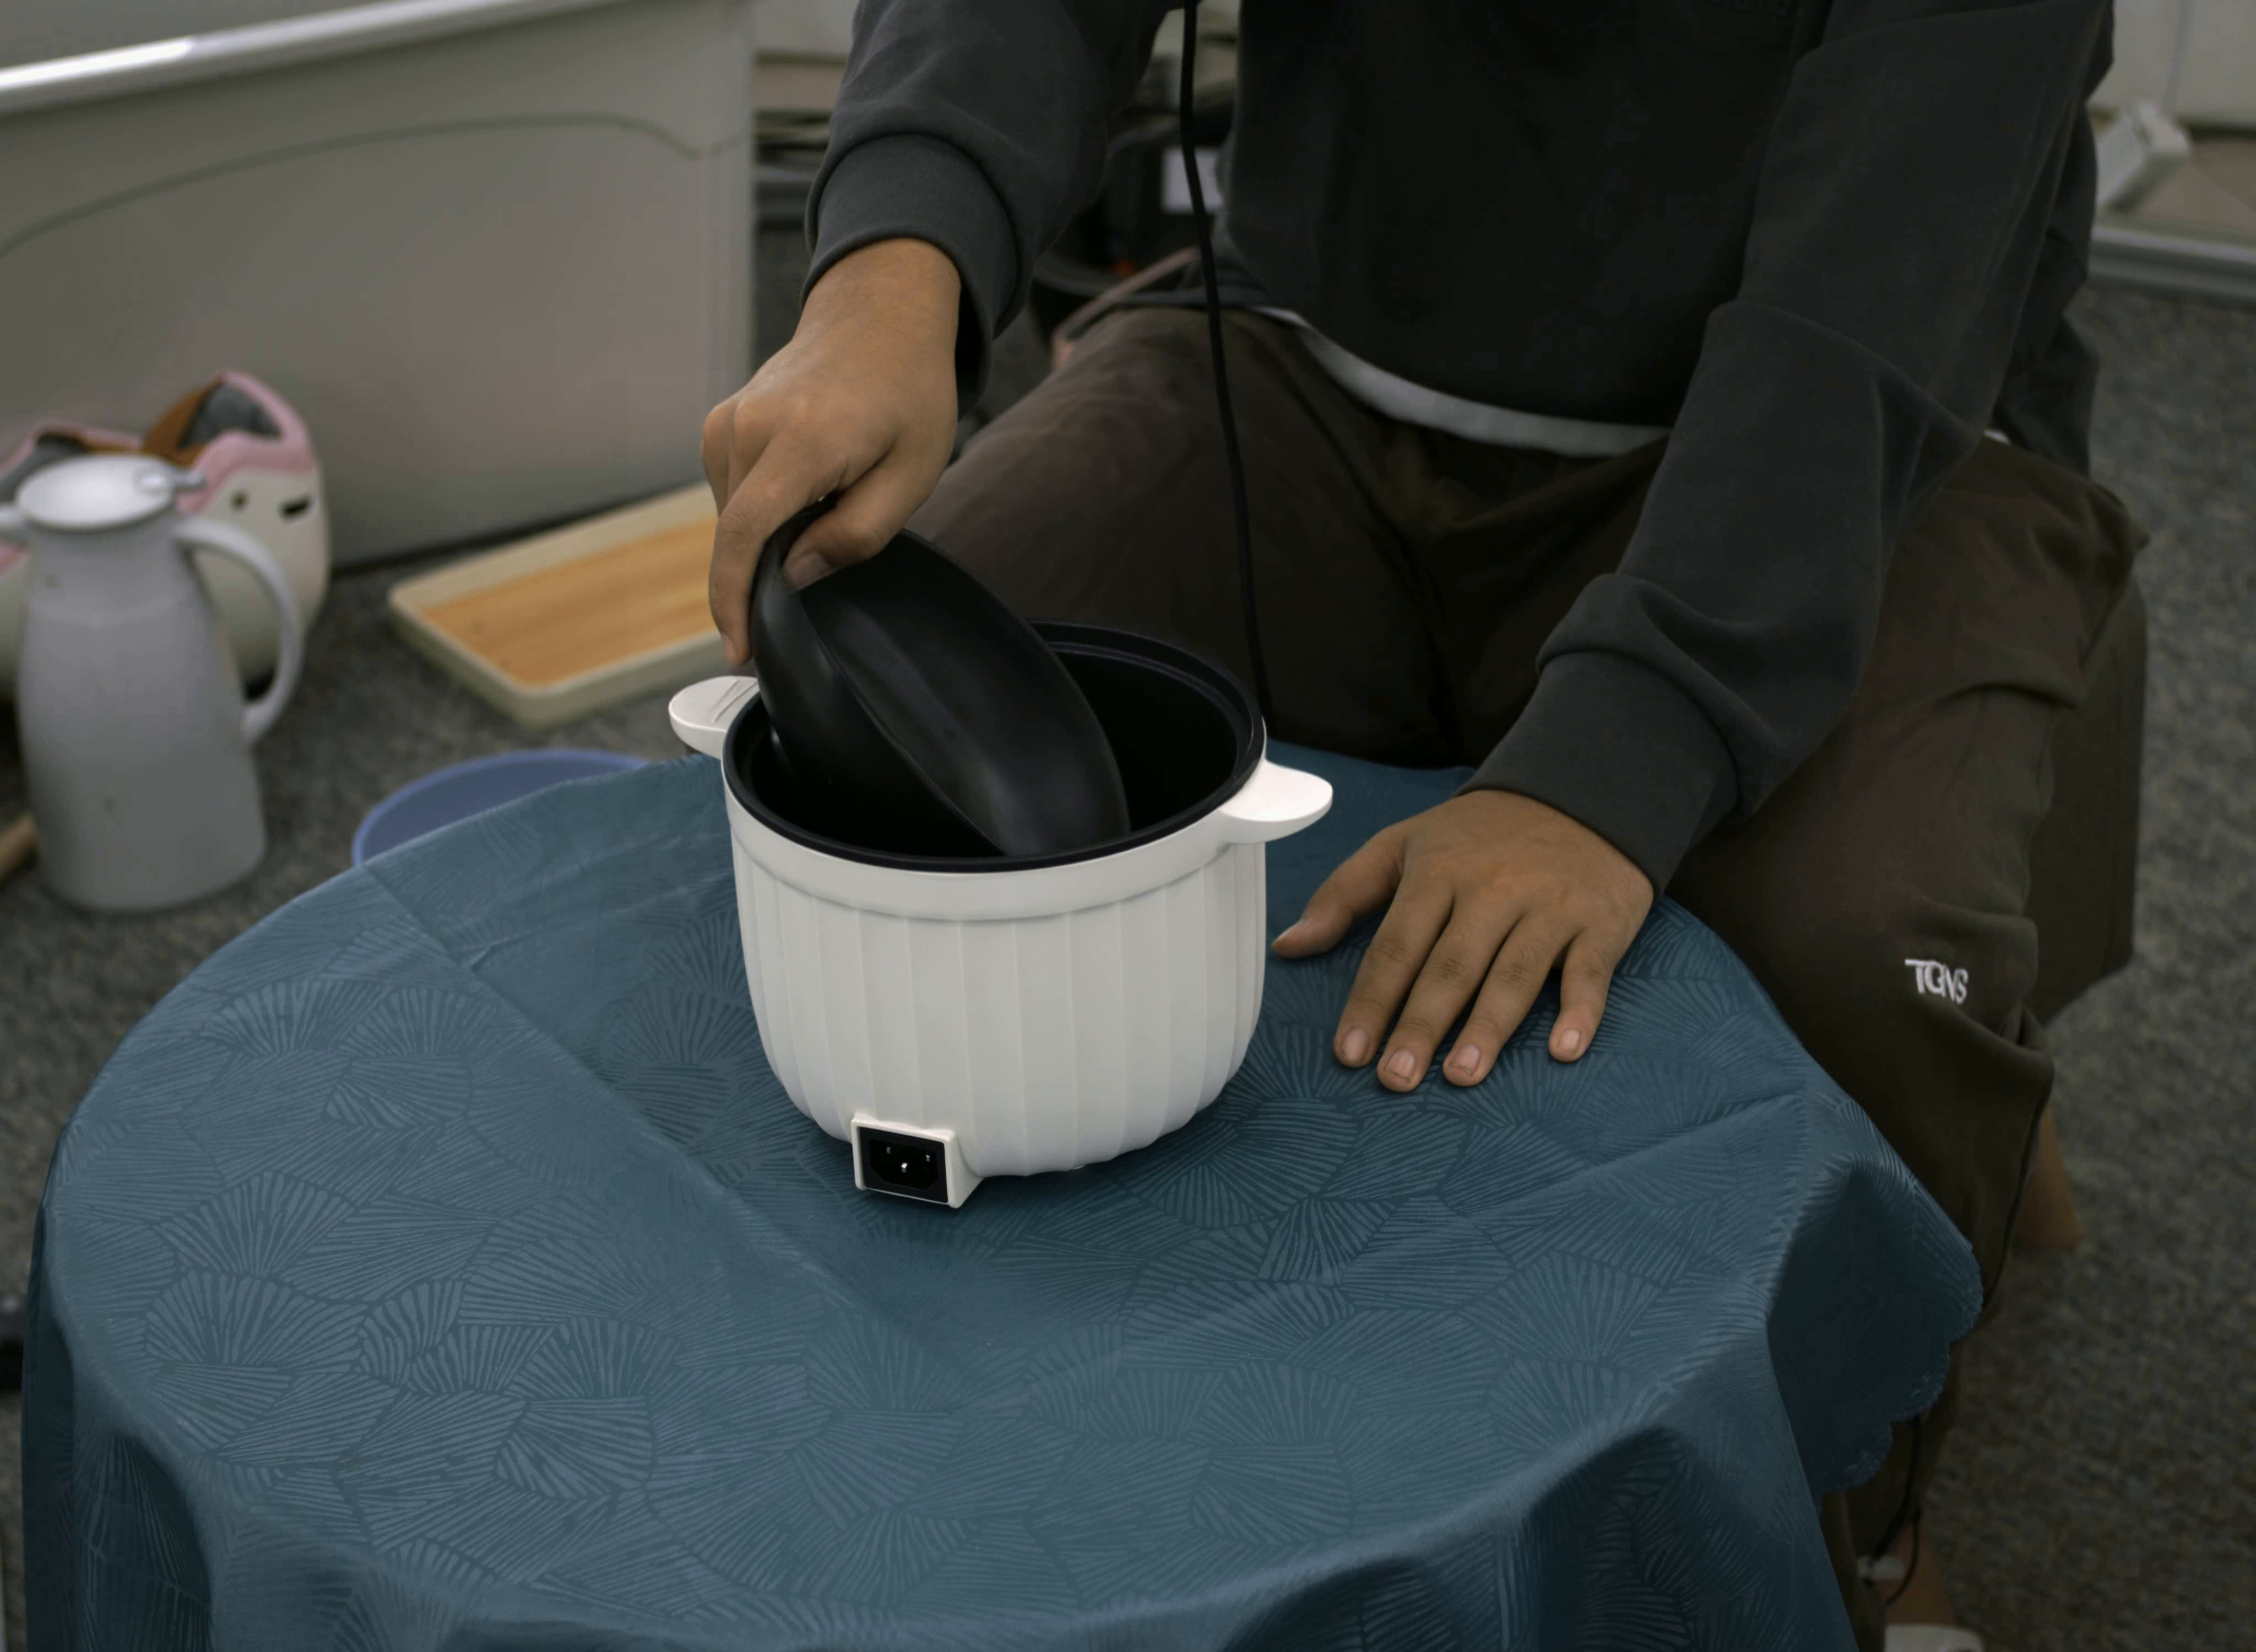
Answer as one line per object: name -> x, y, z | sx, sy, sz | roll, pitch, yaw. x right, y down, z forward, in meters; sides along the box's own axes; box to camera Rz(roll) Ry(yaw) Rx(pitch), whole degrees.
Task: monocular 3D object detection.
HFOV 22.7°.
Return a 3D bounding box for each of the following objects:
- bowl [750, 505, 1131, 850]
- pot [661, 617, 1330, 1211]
bowl -> -0.074, -0.028, 1.888 | 0.066, 0.170, 0.139 | -38, 8, 24
pot -> -0.042, 0.026, 1.905 | 0.239, 0.141, 0.194 | 10, 32, 20
